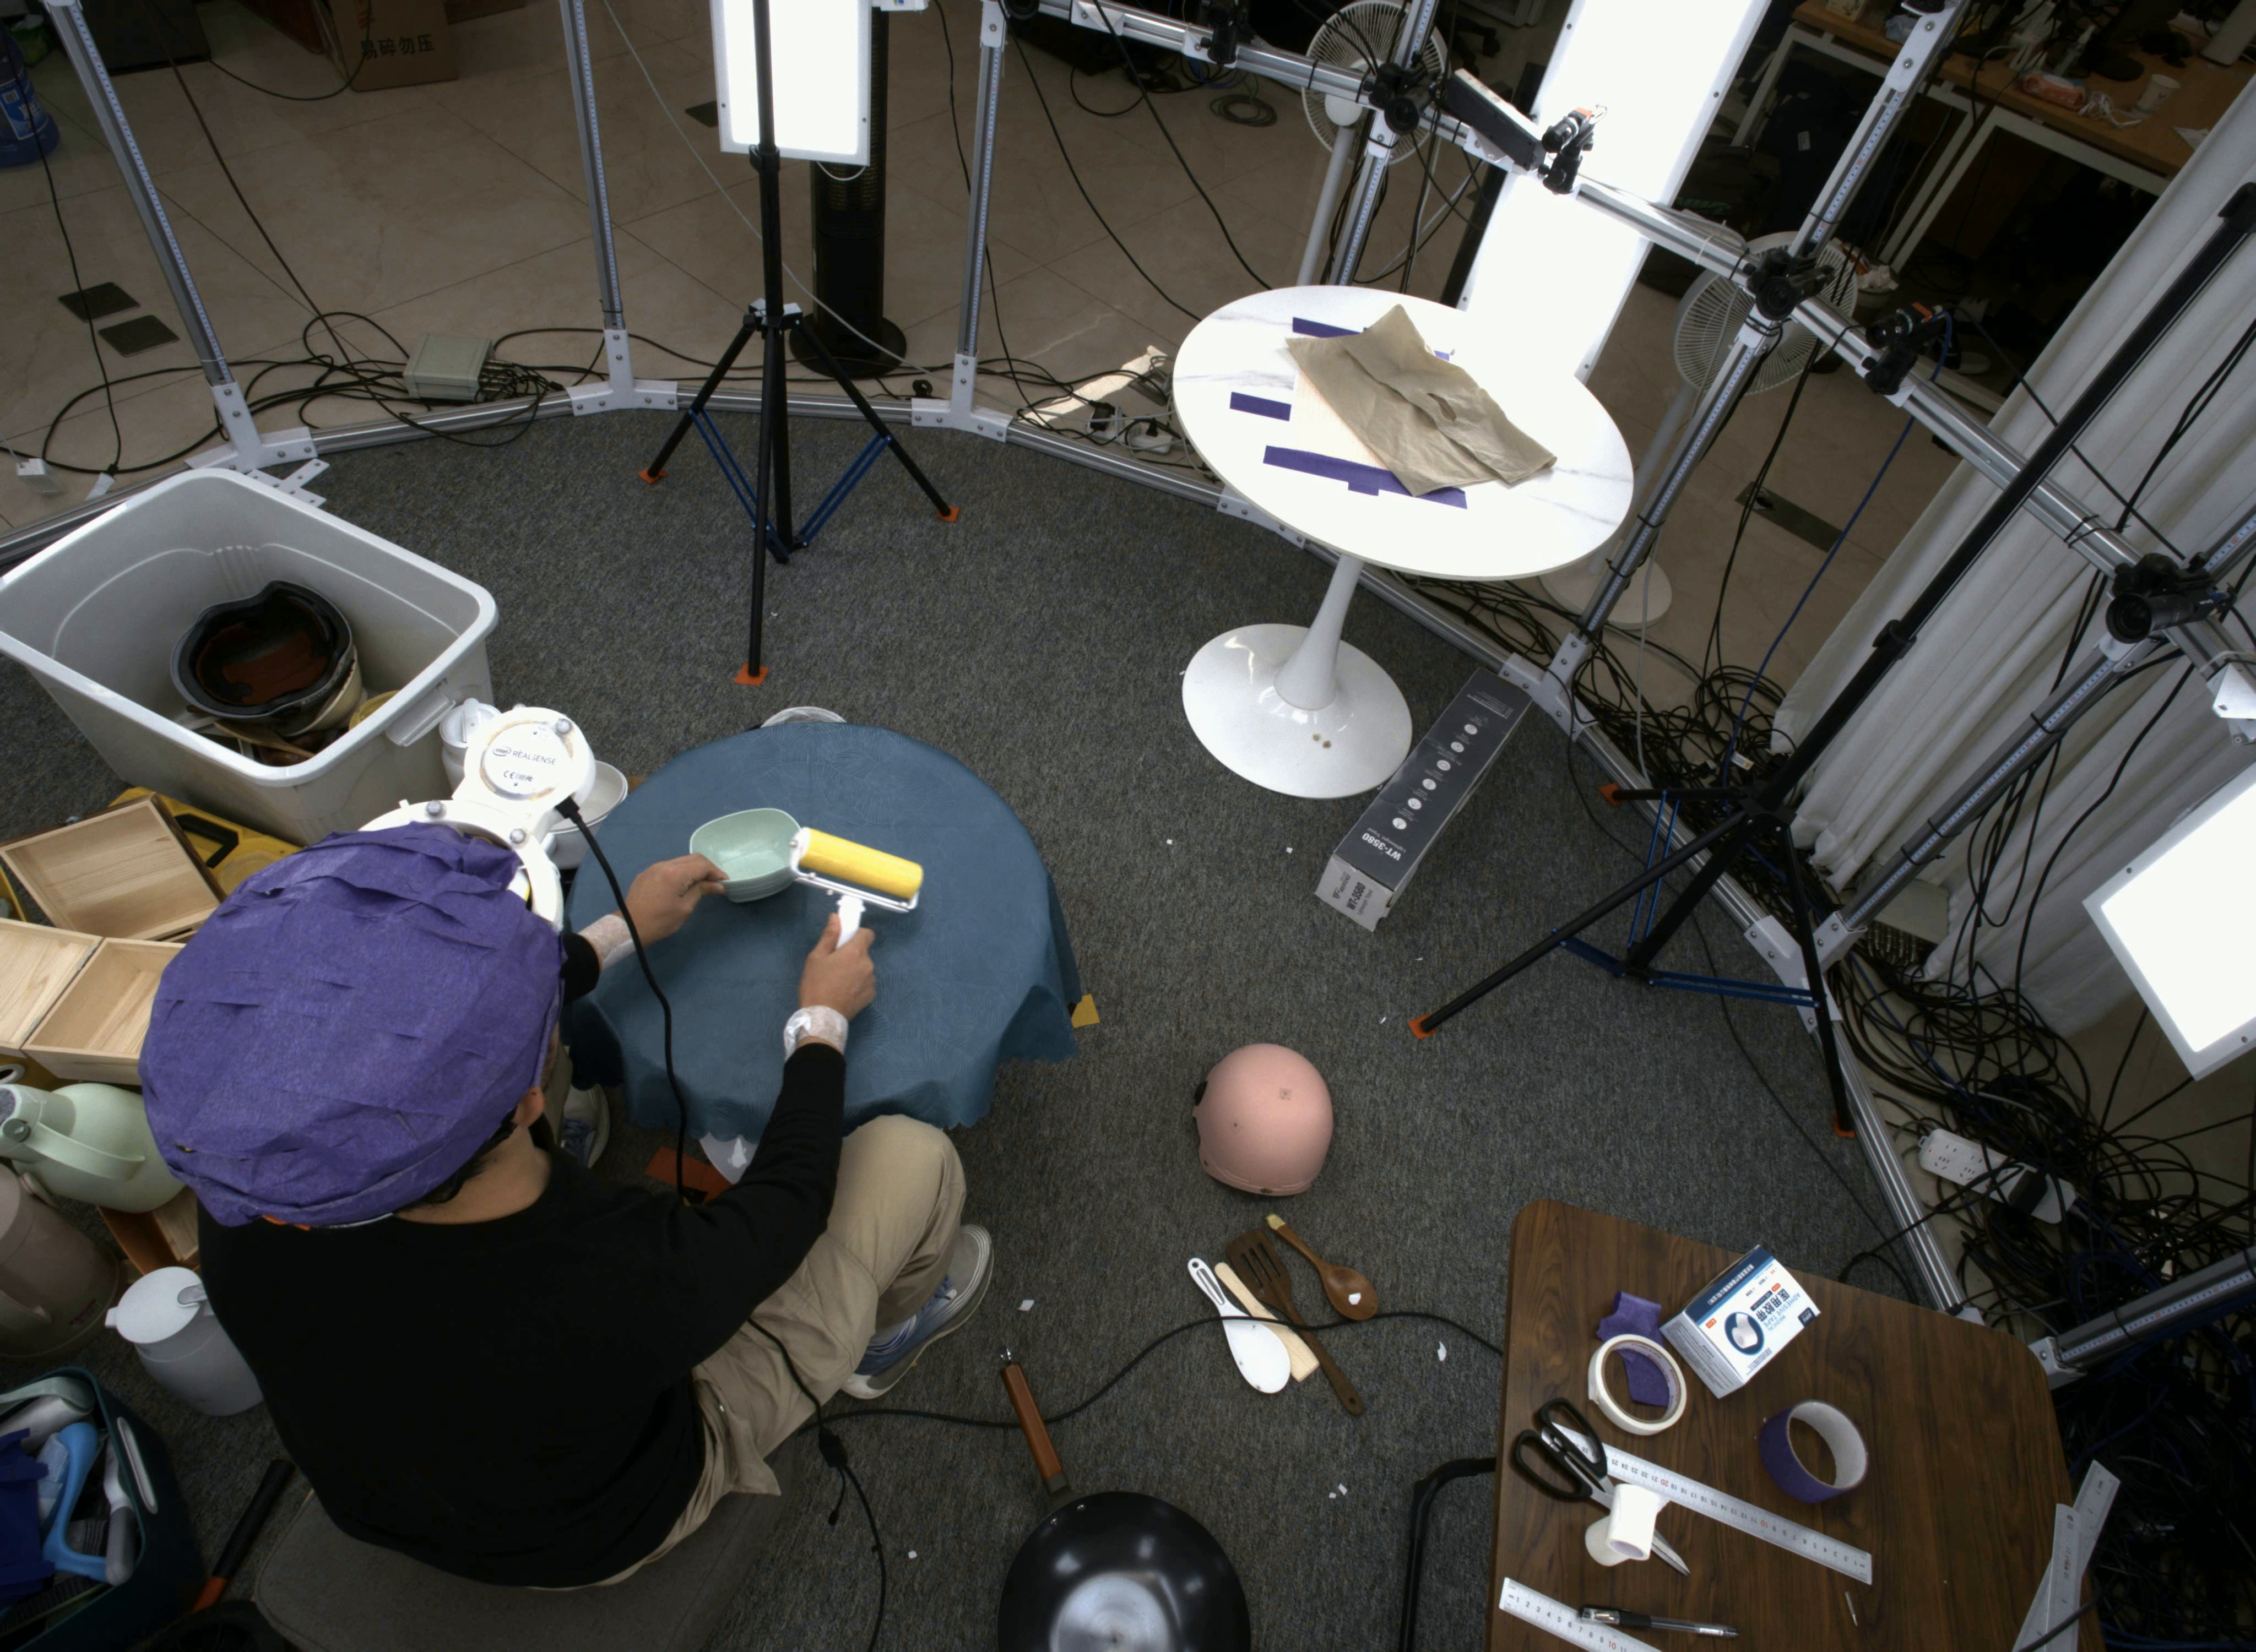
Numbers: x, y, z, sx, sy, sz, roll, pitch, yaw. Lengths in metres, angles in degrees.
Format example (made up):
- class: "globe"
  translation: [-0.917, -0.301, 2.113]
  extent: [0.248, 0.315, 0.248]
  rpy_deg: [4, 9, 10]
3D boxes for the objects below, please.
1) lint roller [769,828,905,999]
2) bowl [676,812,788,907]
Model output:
- class: "lint roller"
  translation: [-0.348, 0.108, 1.566]
  extent: [0.179, 0.051, 0.189]
  rpy_deg: [18, 53, -40]
- class: "bowl"
  translation: [-0.488, 0.047, 1.616]
  extent: [0.150, 0.060, 0.148]
  rpy_deg: [2, 37, 0]
